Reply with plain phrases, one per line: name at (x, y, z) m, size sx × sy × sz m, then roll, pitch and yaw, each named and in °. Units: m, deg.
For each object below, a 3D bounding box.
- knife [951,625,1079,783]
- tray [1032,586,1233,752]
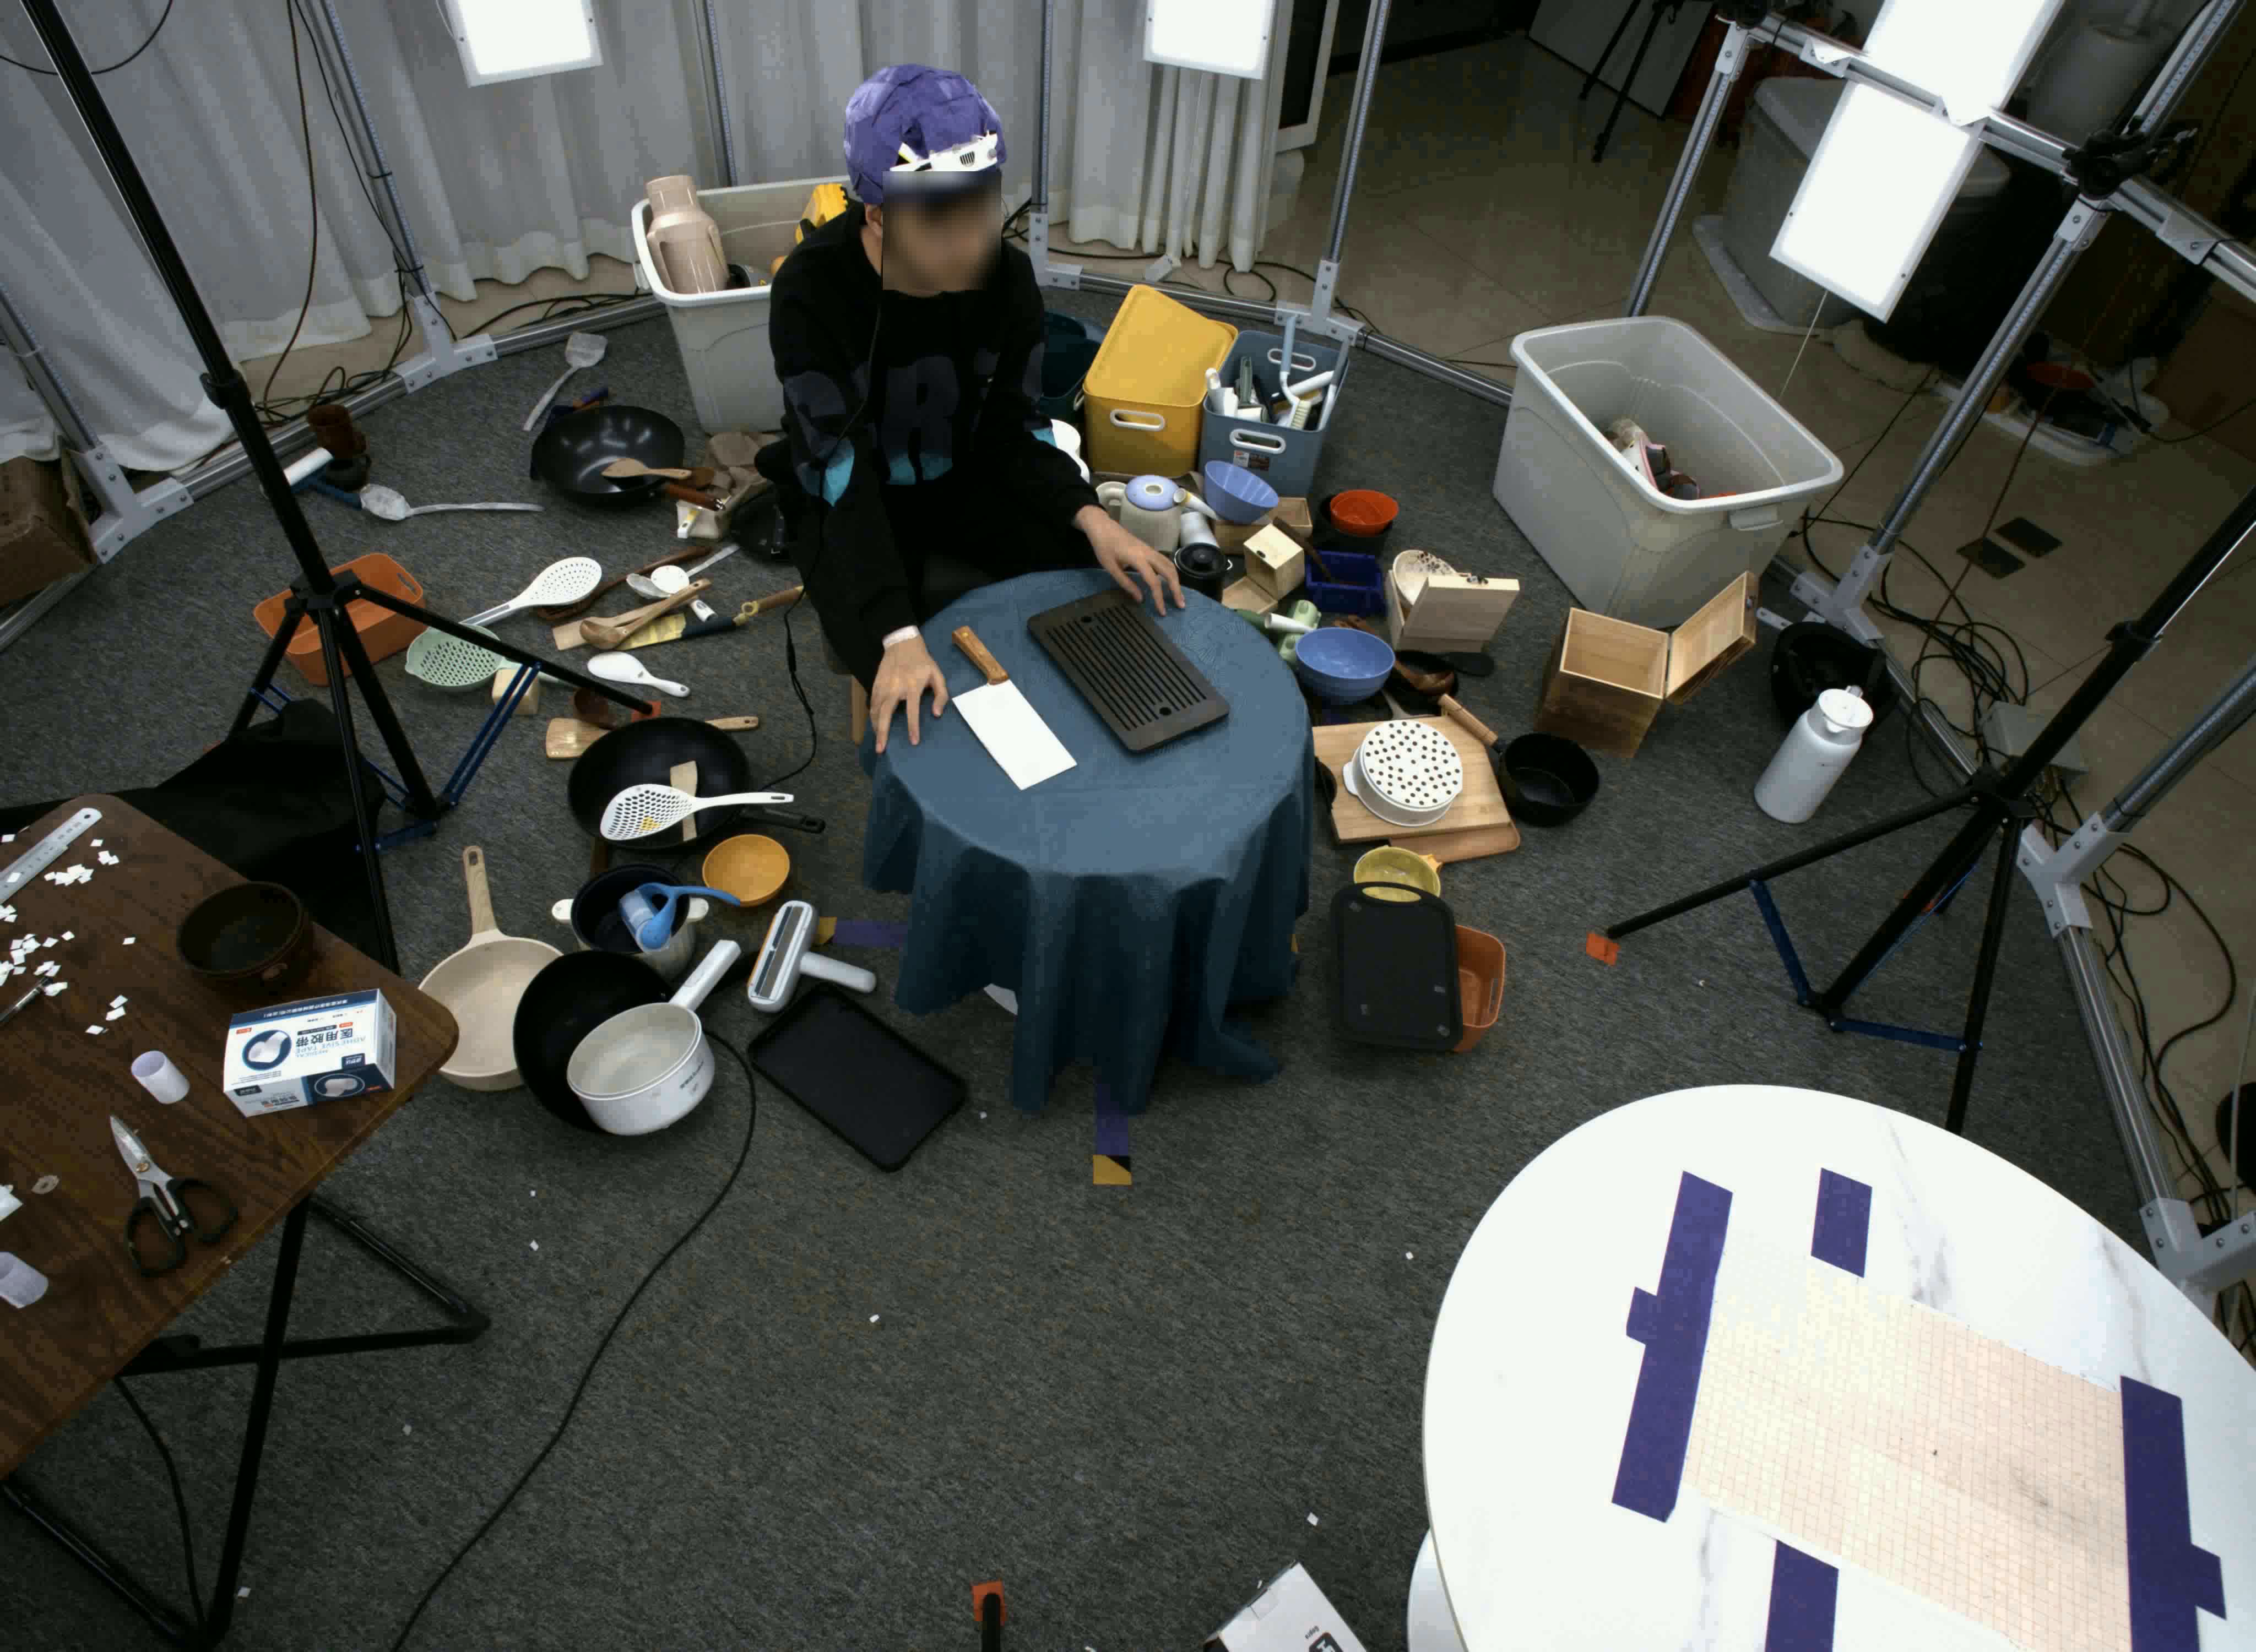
knife at (-0.183, -0.171, 1.795) m, size 0.093 × 0.020 × 0.312 m, roll -25°, pitch 57°, yaw -22°
tray at (0.003, -0.231, 1.857) m, size 0.170 × 0.018 × 0.312 m, roll -23°, pitch 54°, yaw -21°
